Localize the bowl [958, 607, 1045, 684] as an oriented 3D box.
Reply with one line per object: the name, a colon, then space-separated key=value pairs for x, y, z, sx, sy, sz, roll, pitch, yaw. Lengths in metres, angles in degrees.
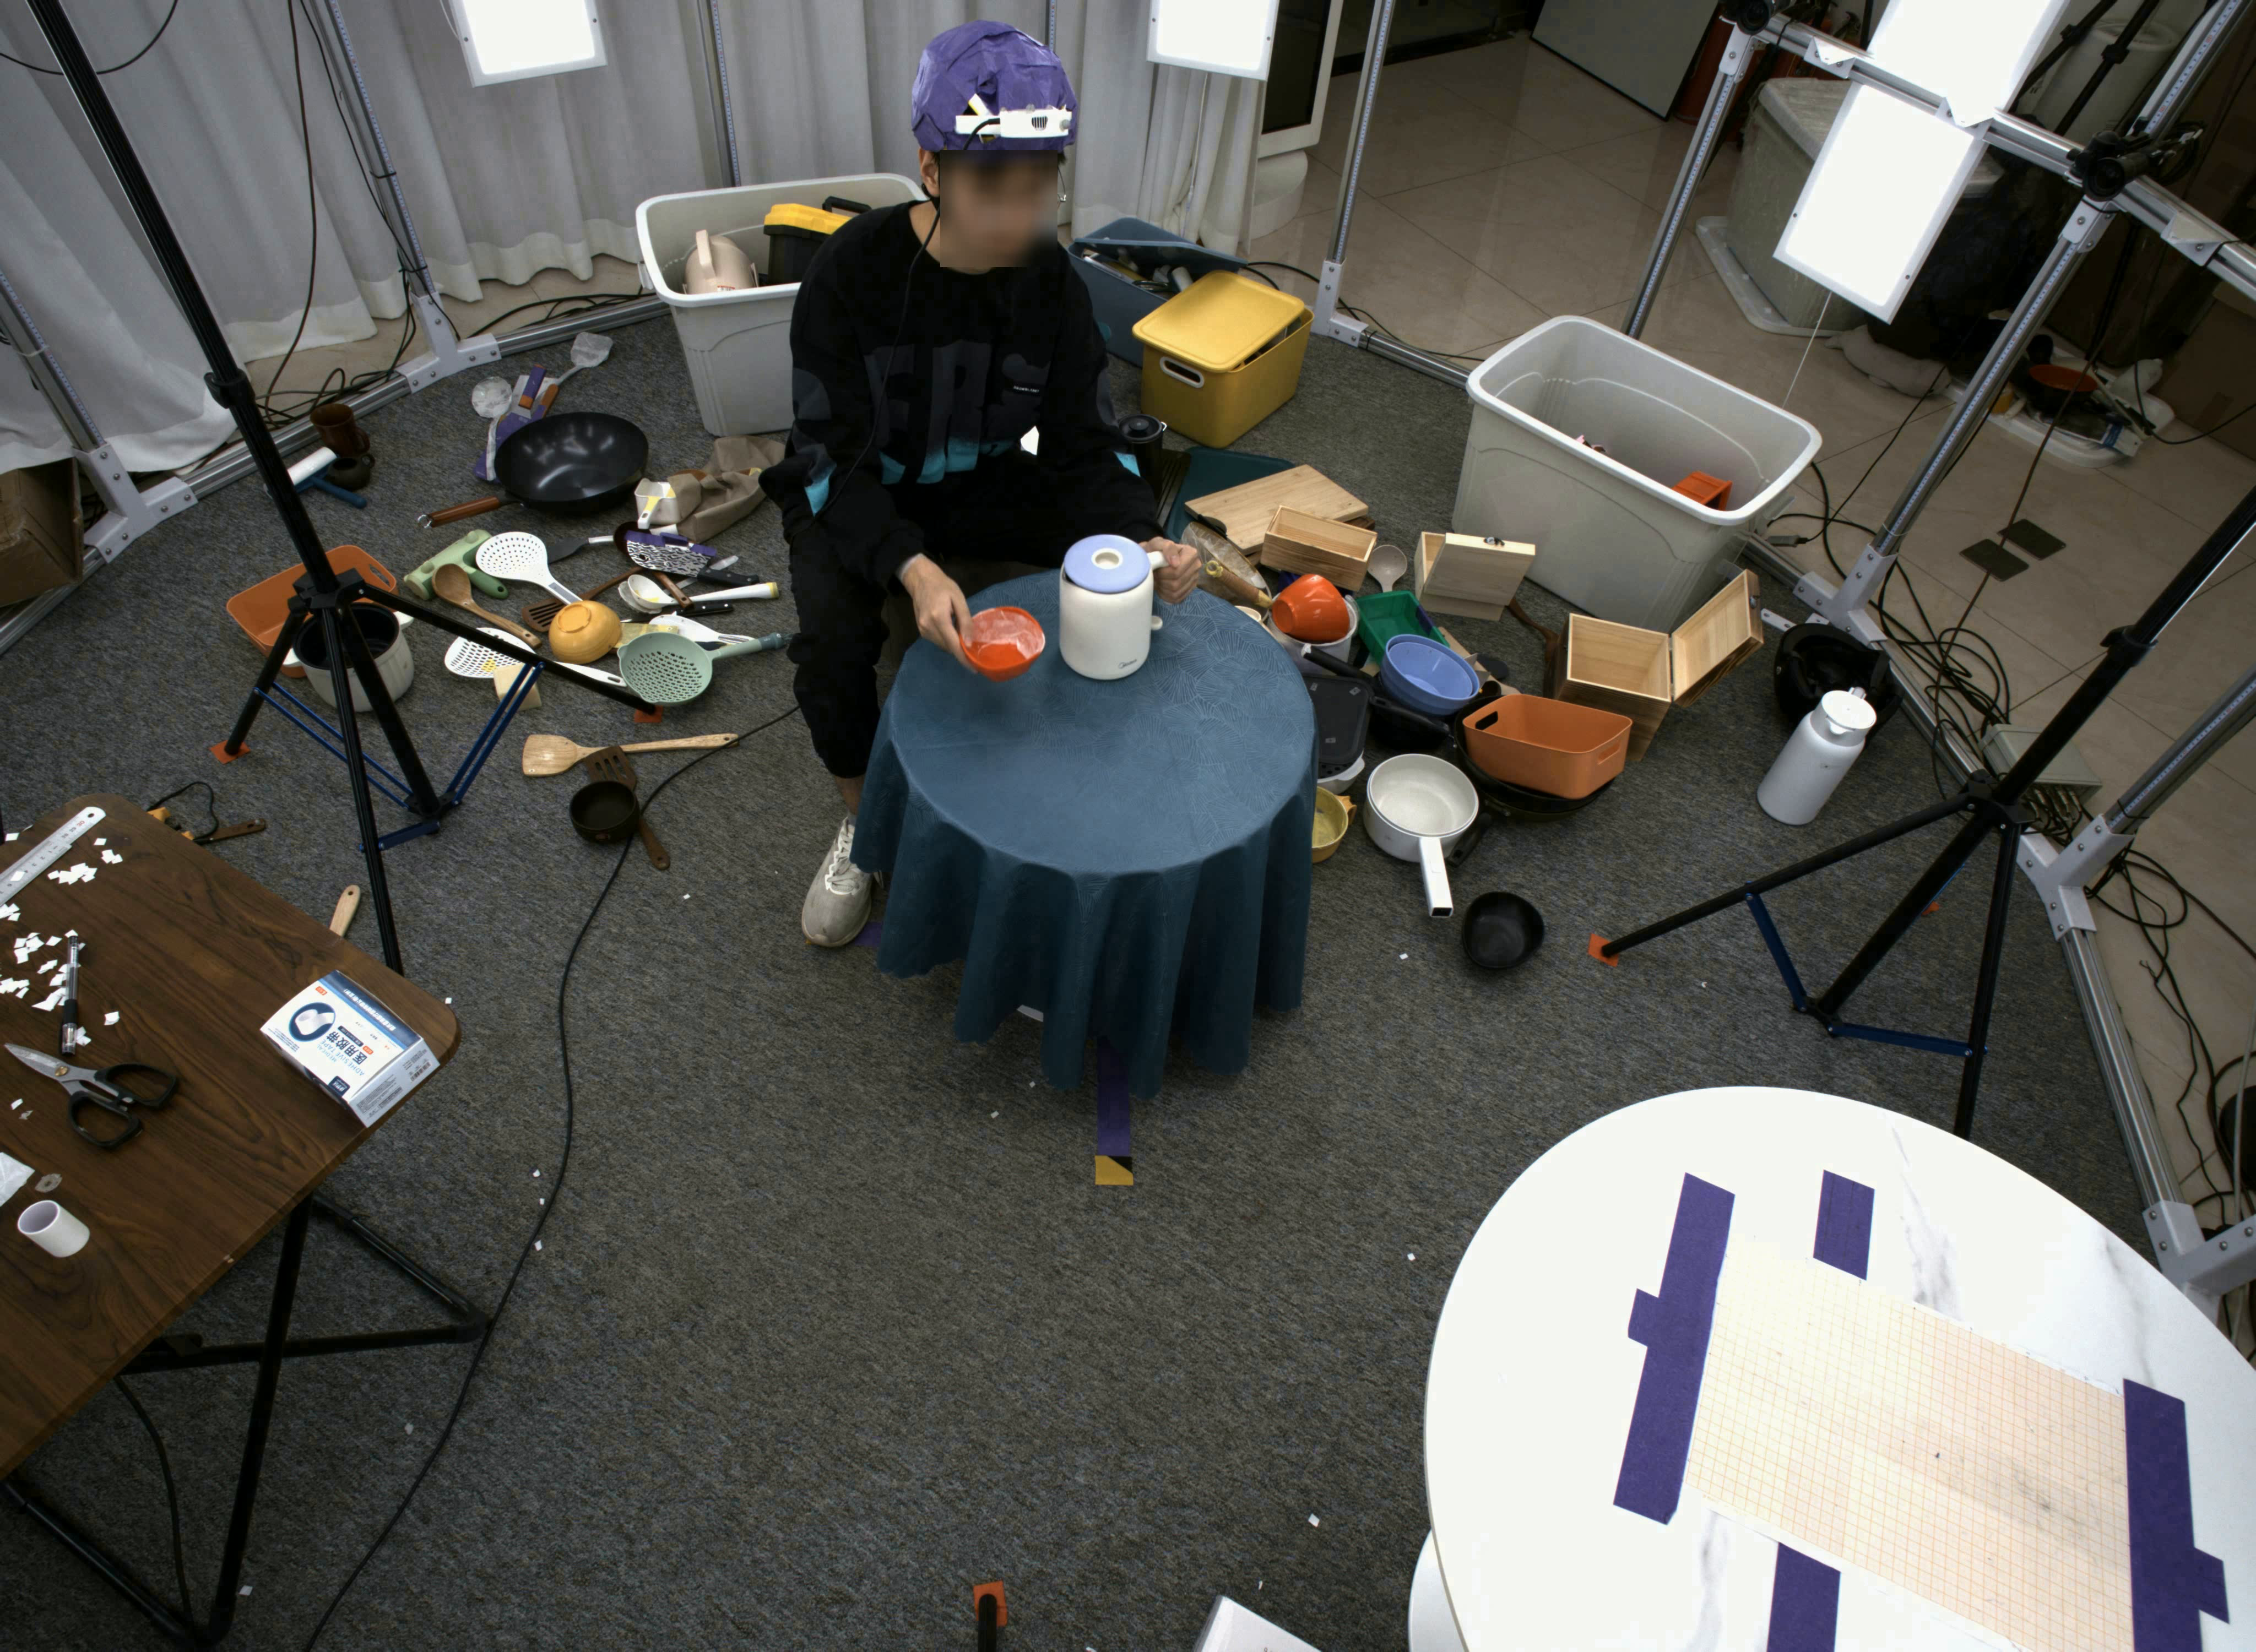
bowl: x=-0.171 y=-0.239 z=1.752 sx=0.119 sy=0.050 sz=0.122 roll=0 pitch=55 yaw=-1

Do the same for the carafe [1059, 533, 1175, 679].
carafe: x=-0.011 y=-0.320 z=1.832 sx=0.192 sy=0.178 sz=0.135 roll=-24 pitch=56 yaw=-23
